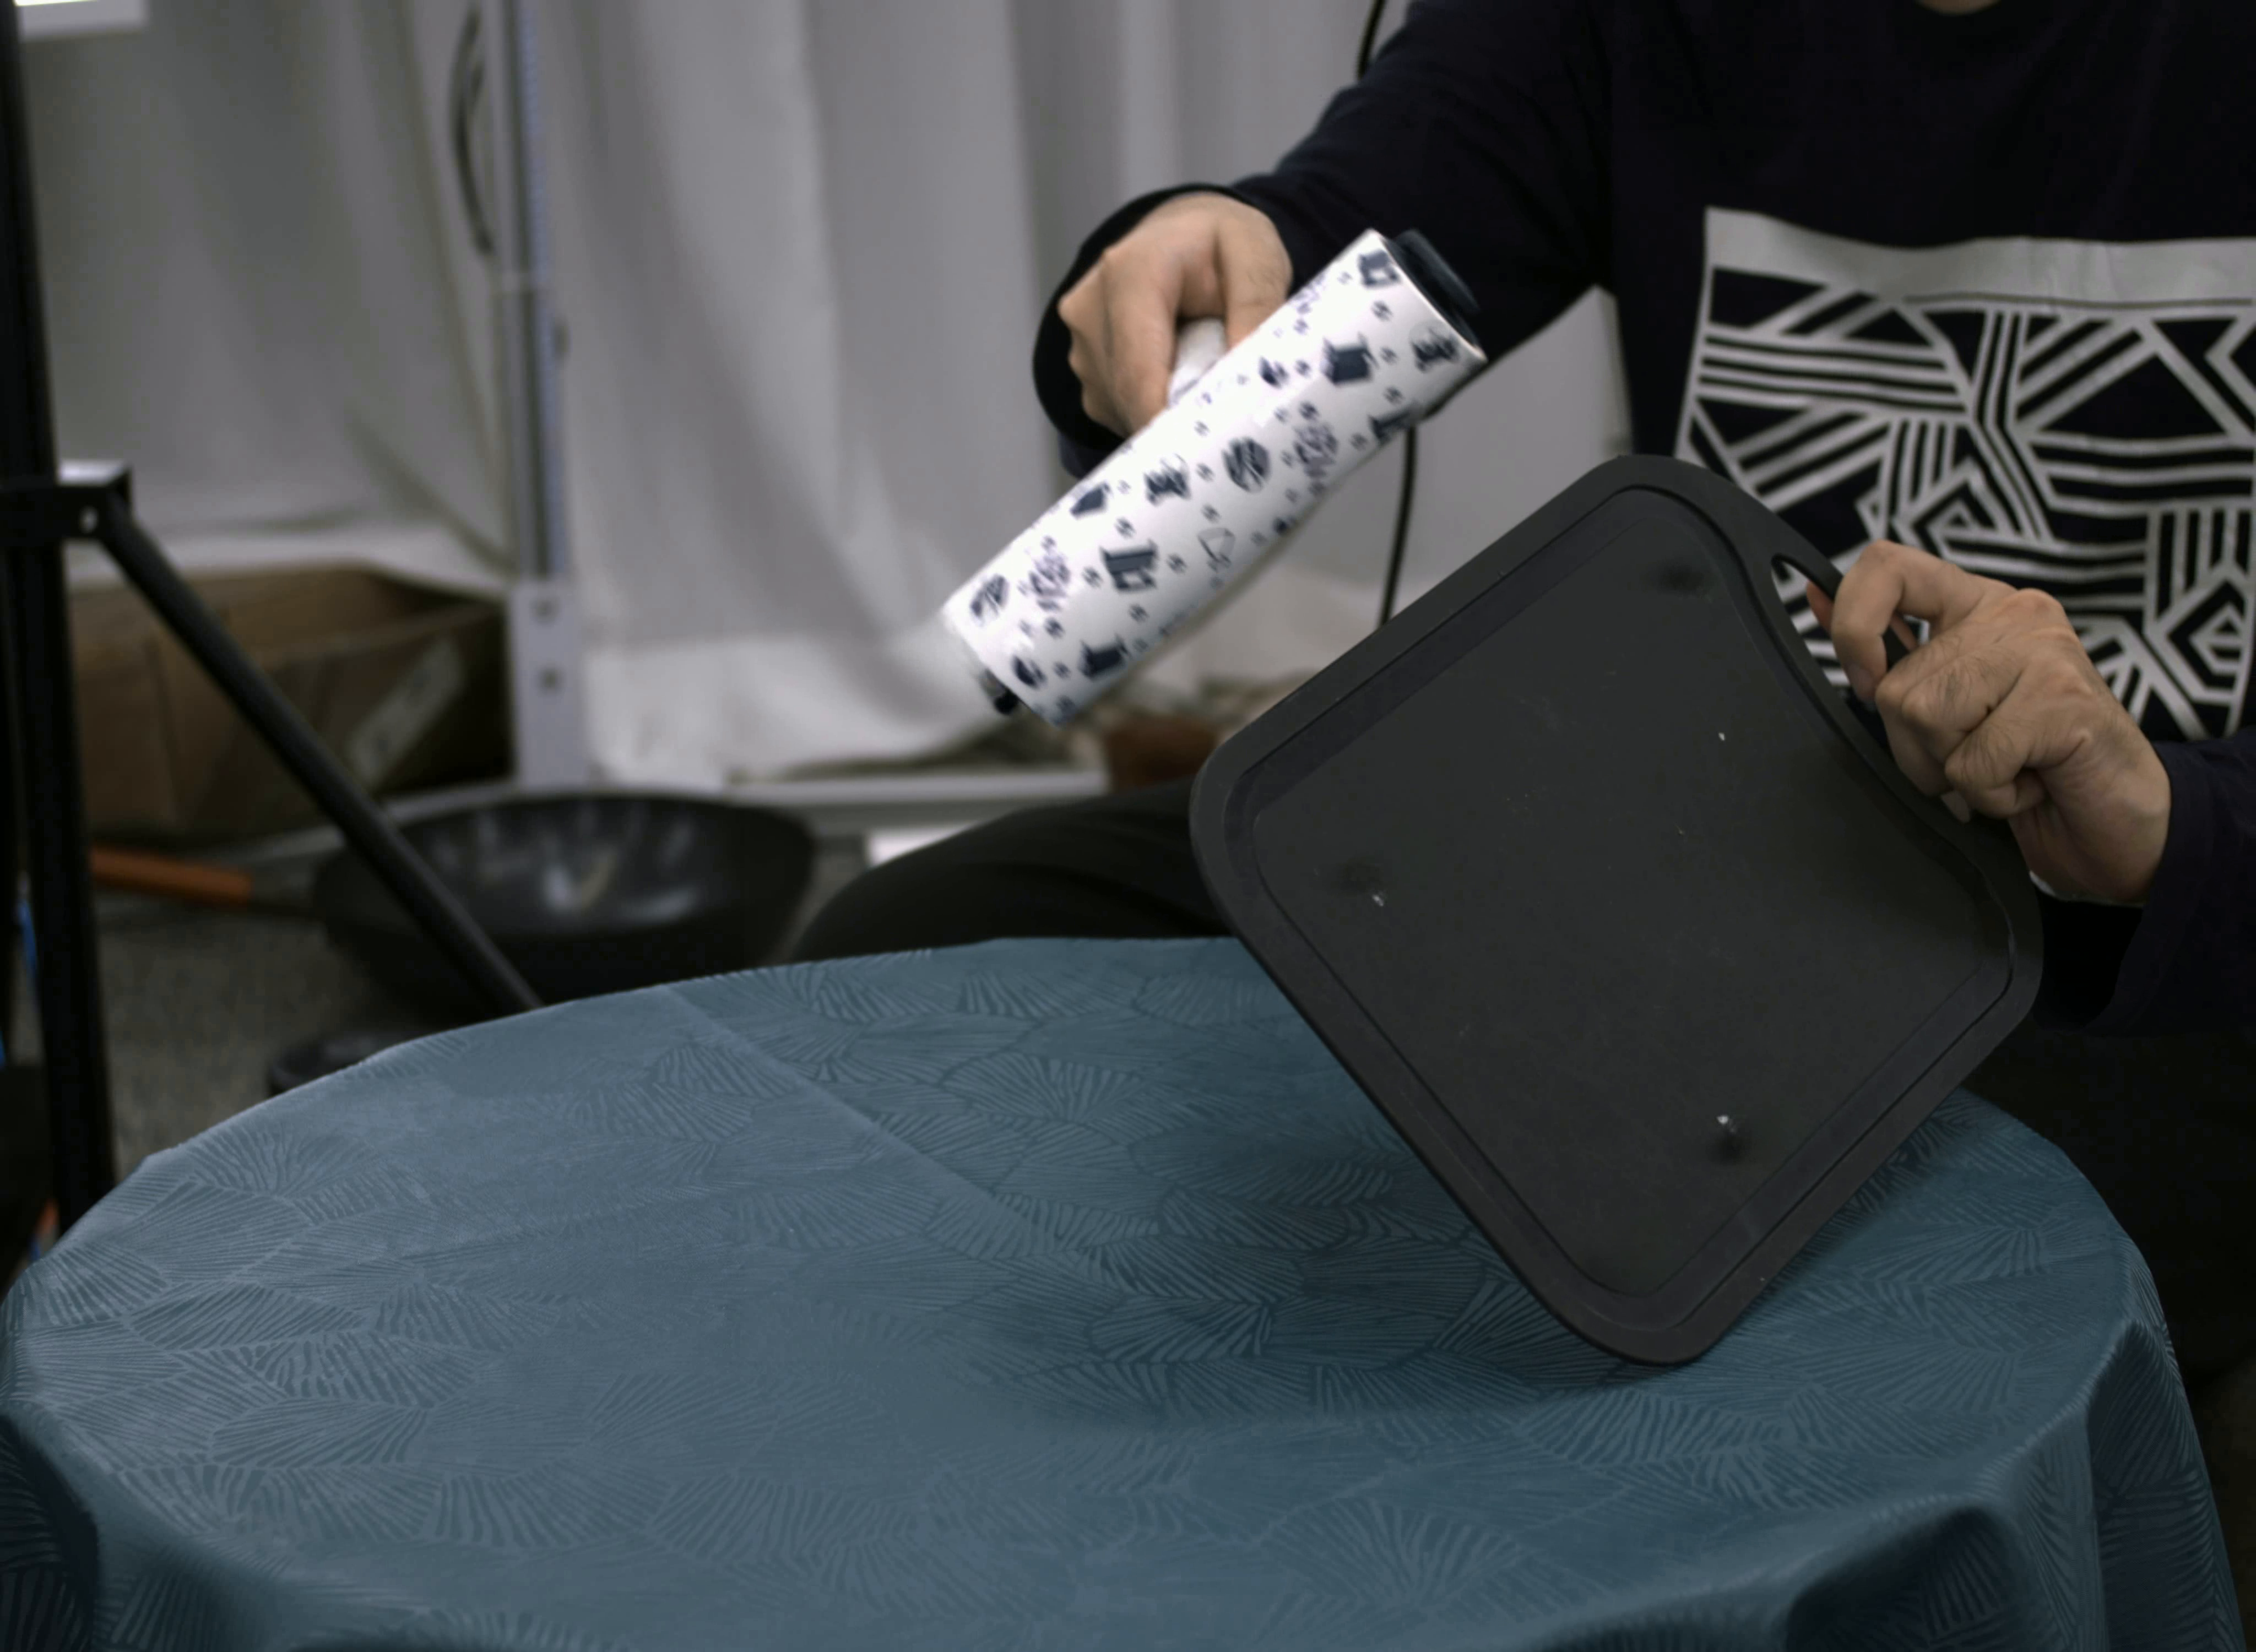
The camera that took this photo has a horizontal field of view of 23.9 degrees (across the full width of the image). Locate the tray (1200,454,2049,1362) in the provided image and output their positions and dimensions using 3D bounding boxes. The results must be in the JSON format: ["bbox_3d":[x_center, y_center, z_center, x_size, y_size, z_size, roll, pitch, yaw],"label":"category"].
[{"bbox_3d":[0.154,0.011,1.513,0.320,0.212,0.010,-34,-6,-48],"label":"tray"}]

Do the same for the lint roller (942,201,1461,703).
[{"bbox_3d":[0.022,-0.126,1.592,0.177,0.050,0.247,-42,10,10],"label":"lint roller"}]
